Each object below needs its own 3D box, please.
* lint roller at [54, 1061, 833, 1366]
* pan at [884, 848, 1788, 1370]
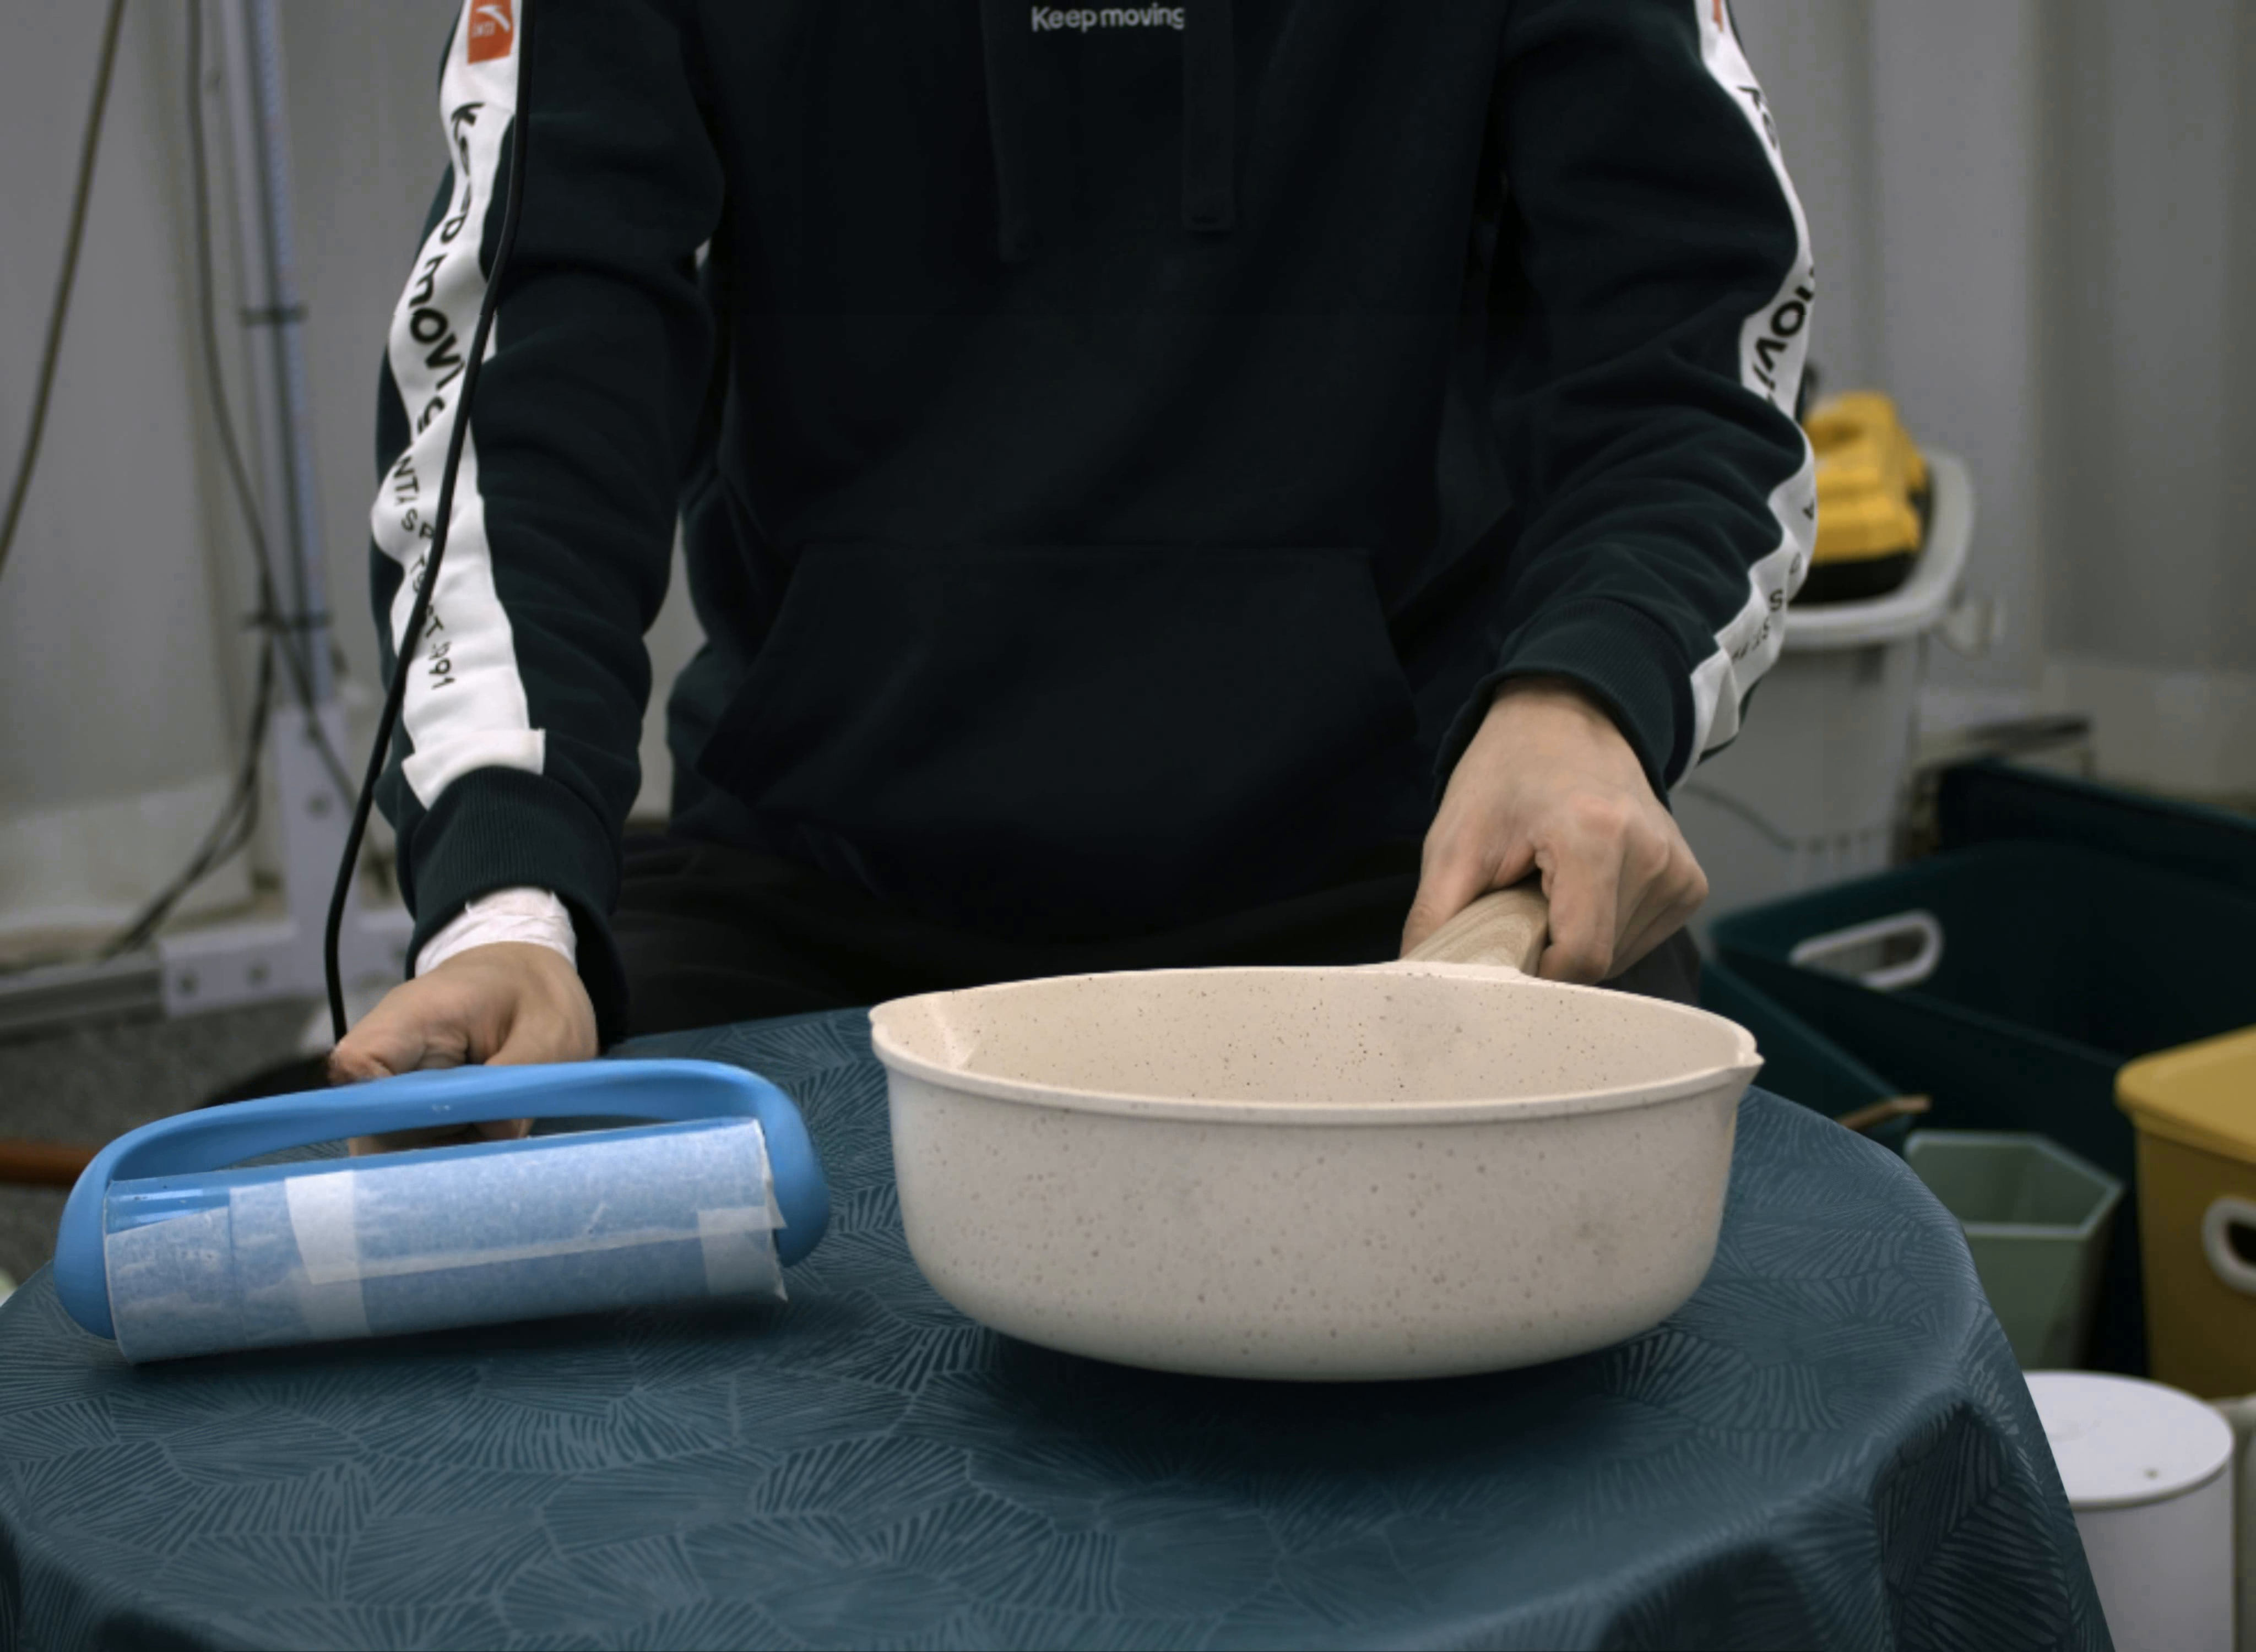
[{"bbox_3d":[-0.208,0.106,1.665,0.228,0.067,0.181,-8,14,-5],"label":"lint roller"},{"bbox_3d":[0.087,0.080,1.639,0.263,0.102,0.434,1,6,19],"label":"pan"}]
